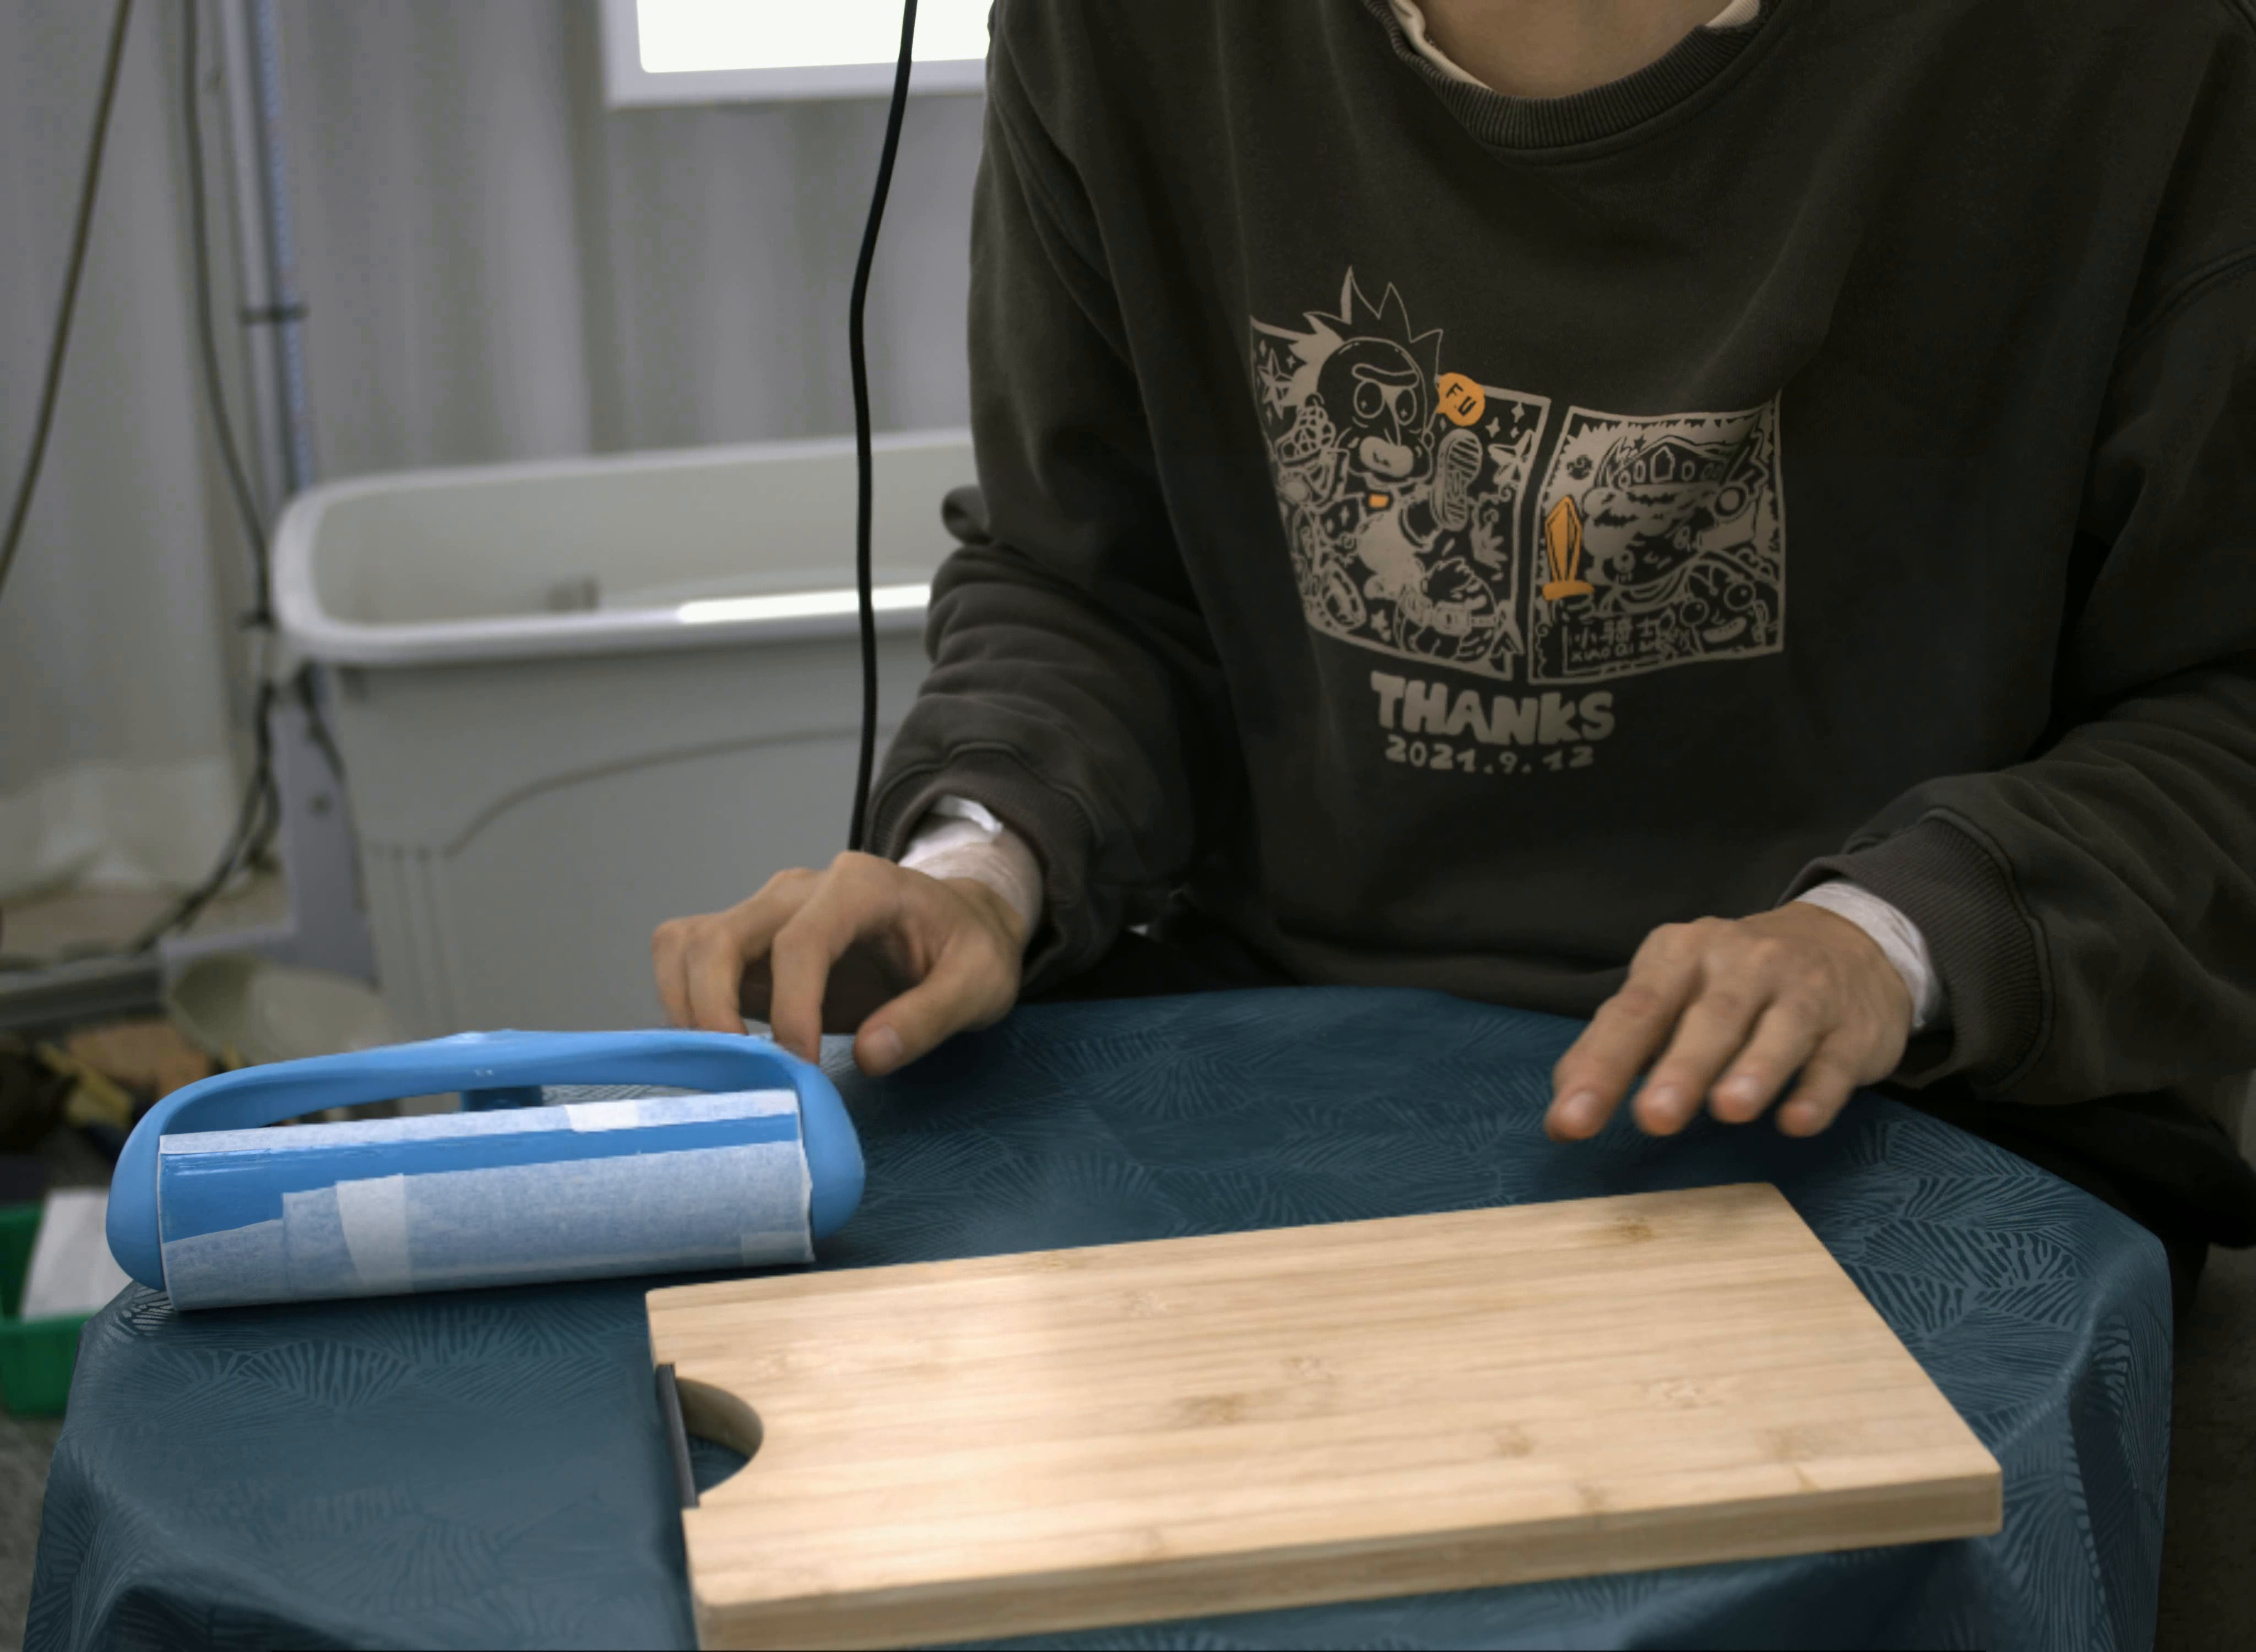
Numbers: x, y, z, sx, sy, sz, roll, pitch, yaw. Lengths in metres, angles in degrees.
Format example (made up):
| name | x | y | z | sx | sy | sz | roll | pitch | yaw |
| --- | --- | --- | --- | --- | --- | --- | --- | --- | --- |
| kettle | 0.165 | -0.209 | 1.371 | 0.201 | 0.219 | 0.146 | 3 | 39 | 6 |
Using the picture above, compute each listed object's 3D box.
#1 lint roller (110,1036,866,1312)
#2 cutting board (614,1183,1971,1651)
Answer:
| name | x | y | z | sx | sy | sz | roll | pitch | yaw |
| --- | --- | --- | --- | --- | --- | --- | --- | --- | --- |
| lint roller | -0.201 | 0.097 | 1.719 | 0.228 | 0.067 | 0.182 | -6 | 16 | -6 |
| cutting board | 0.037 | 0.162 | 1.510 | 0.347 | 0.023 | 0.252 | -5 | 15 | -8 |
